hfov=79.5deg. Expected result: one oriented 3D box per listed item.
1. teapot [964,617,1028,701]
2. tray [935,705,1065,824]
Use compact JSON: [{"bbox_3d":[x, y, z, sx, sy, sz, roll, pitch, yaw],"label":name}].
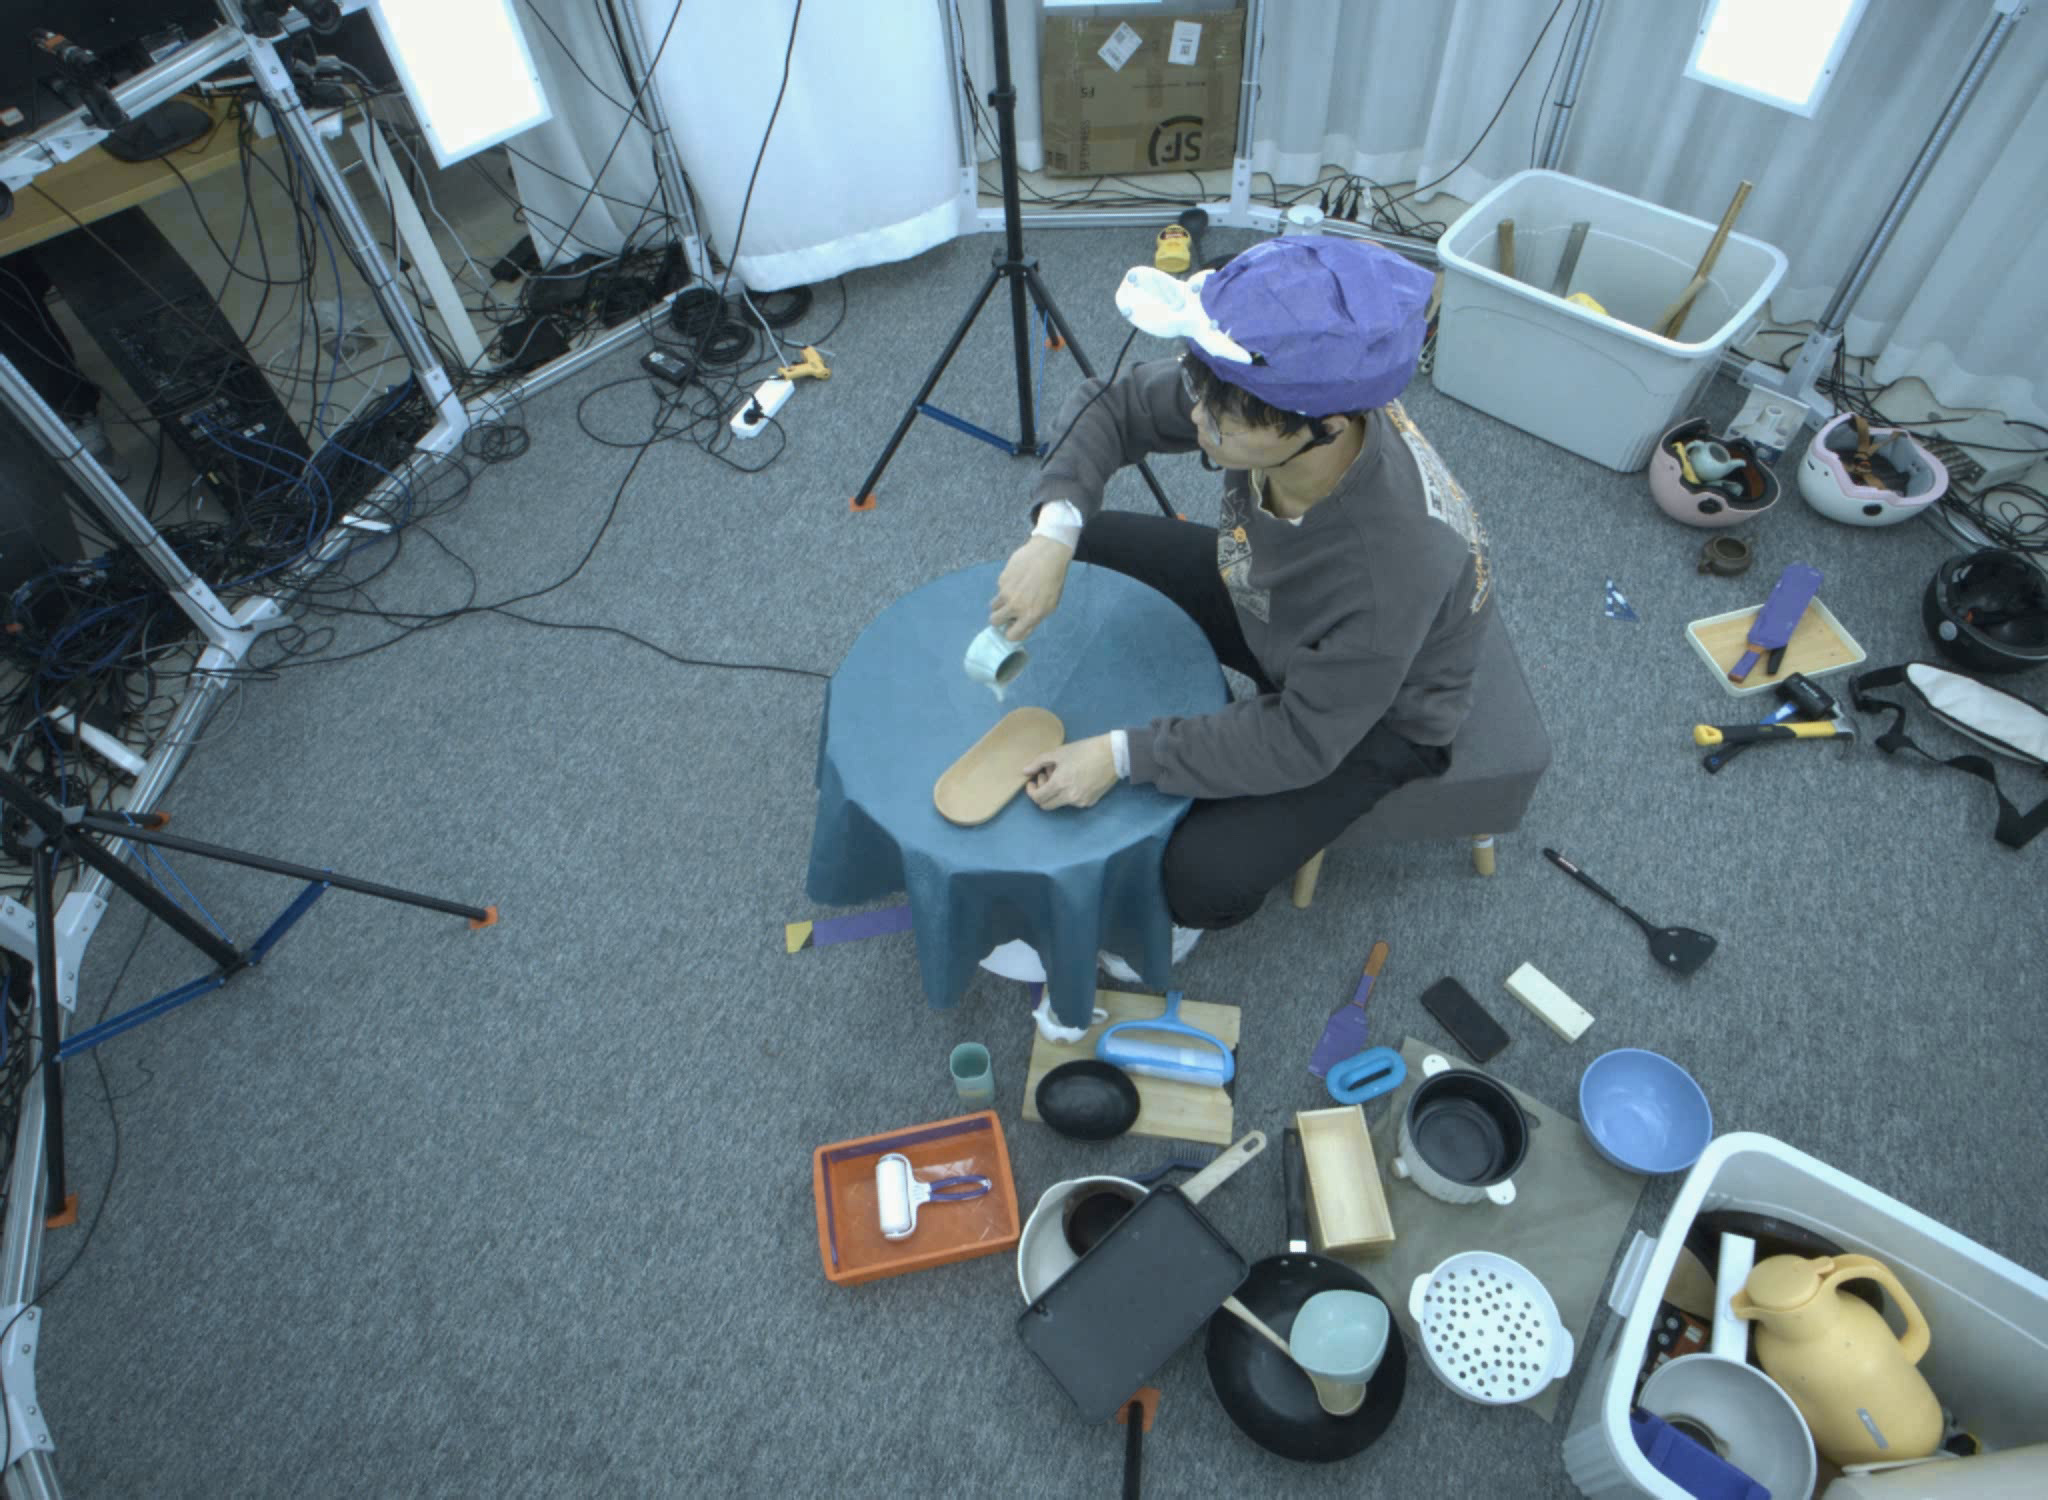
[{"bbox_3d":[-0.034,-0.134,1.712,0.097,0.137,0.060,-26,58,-36],"label":"teapot"},{"bbox_3d":[-0.033,0.020,1.761,0.100,0.020,0.232,34,61,23],"label":"tray"}]
